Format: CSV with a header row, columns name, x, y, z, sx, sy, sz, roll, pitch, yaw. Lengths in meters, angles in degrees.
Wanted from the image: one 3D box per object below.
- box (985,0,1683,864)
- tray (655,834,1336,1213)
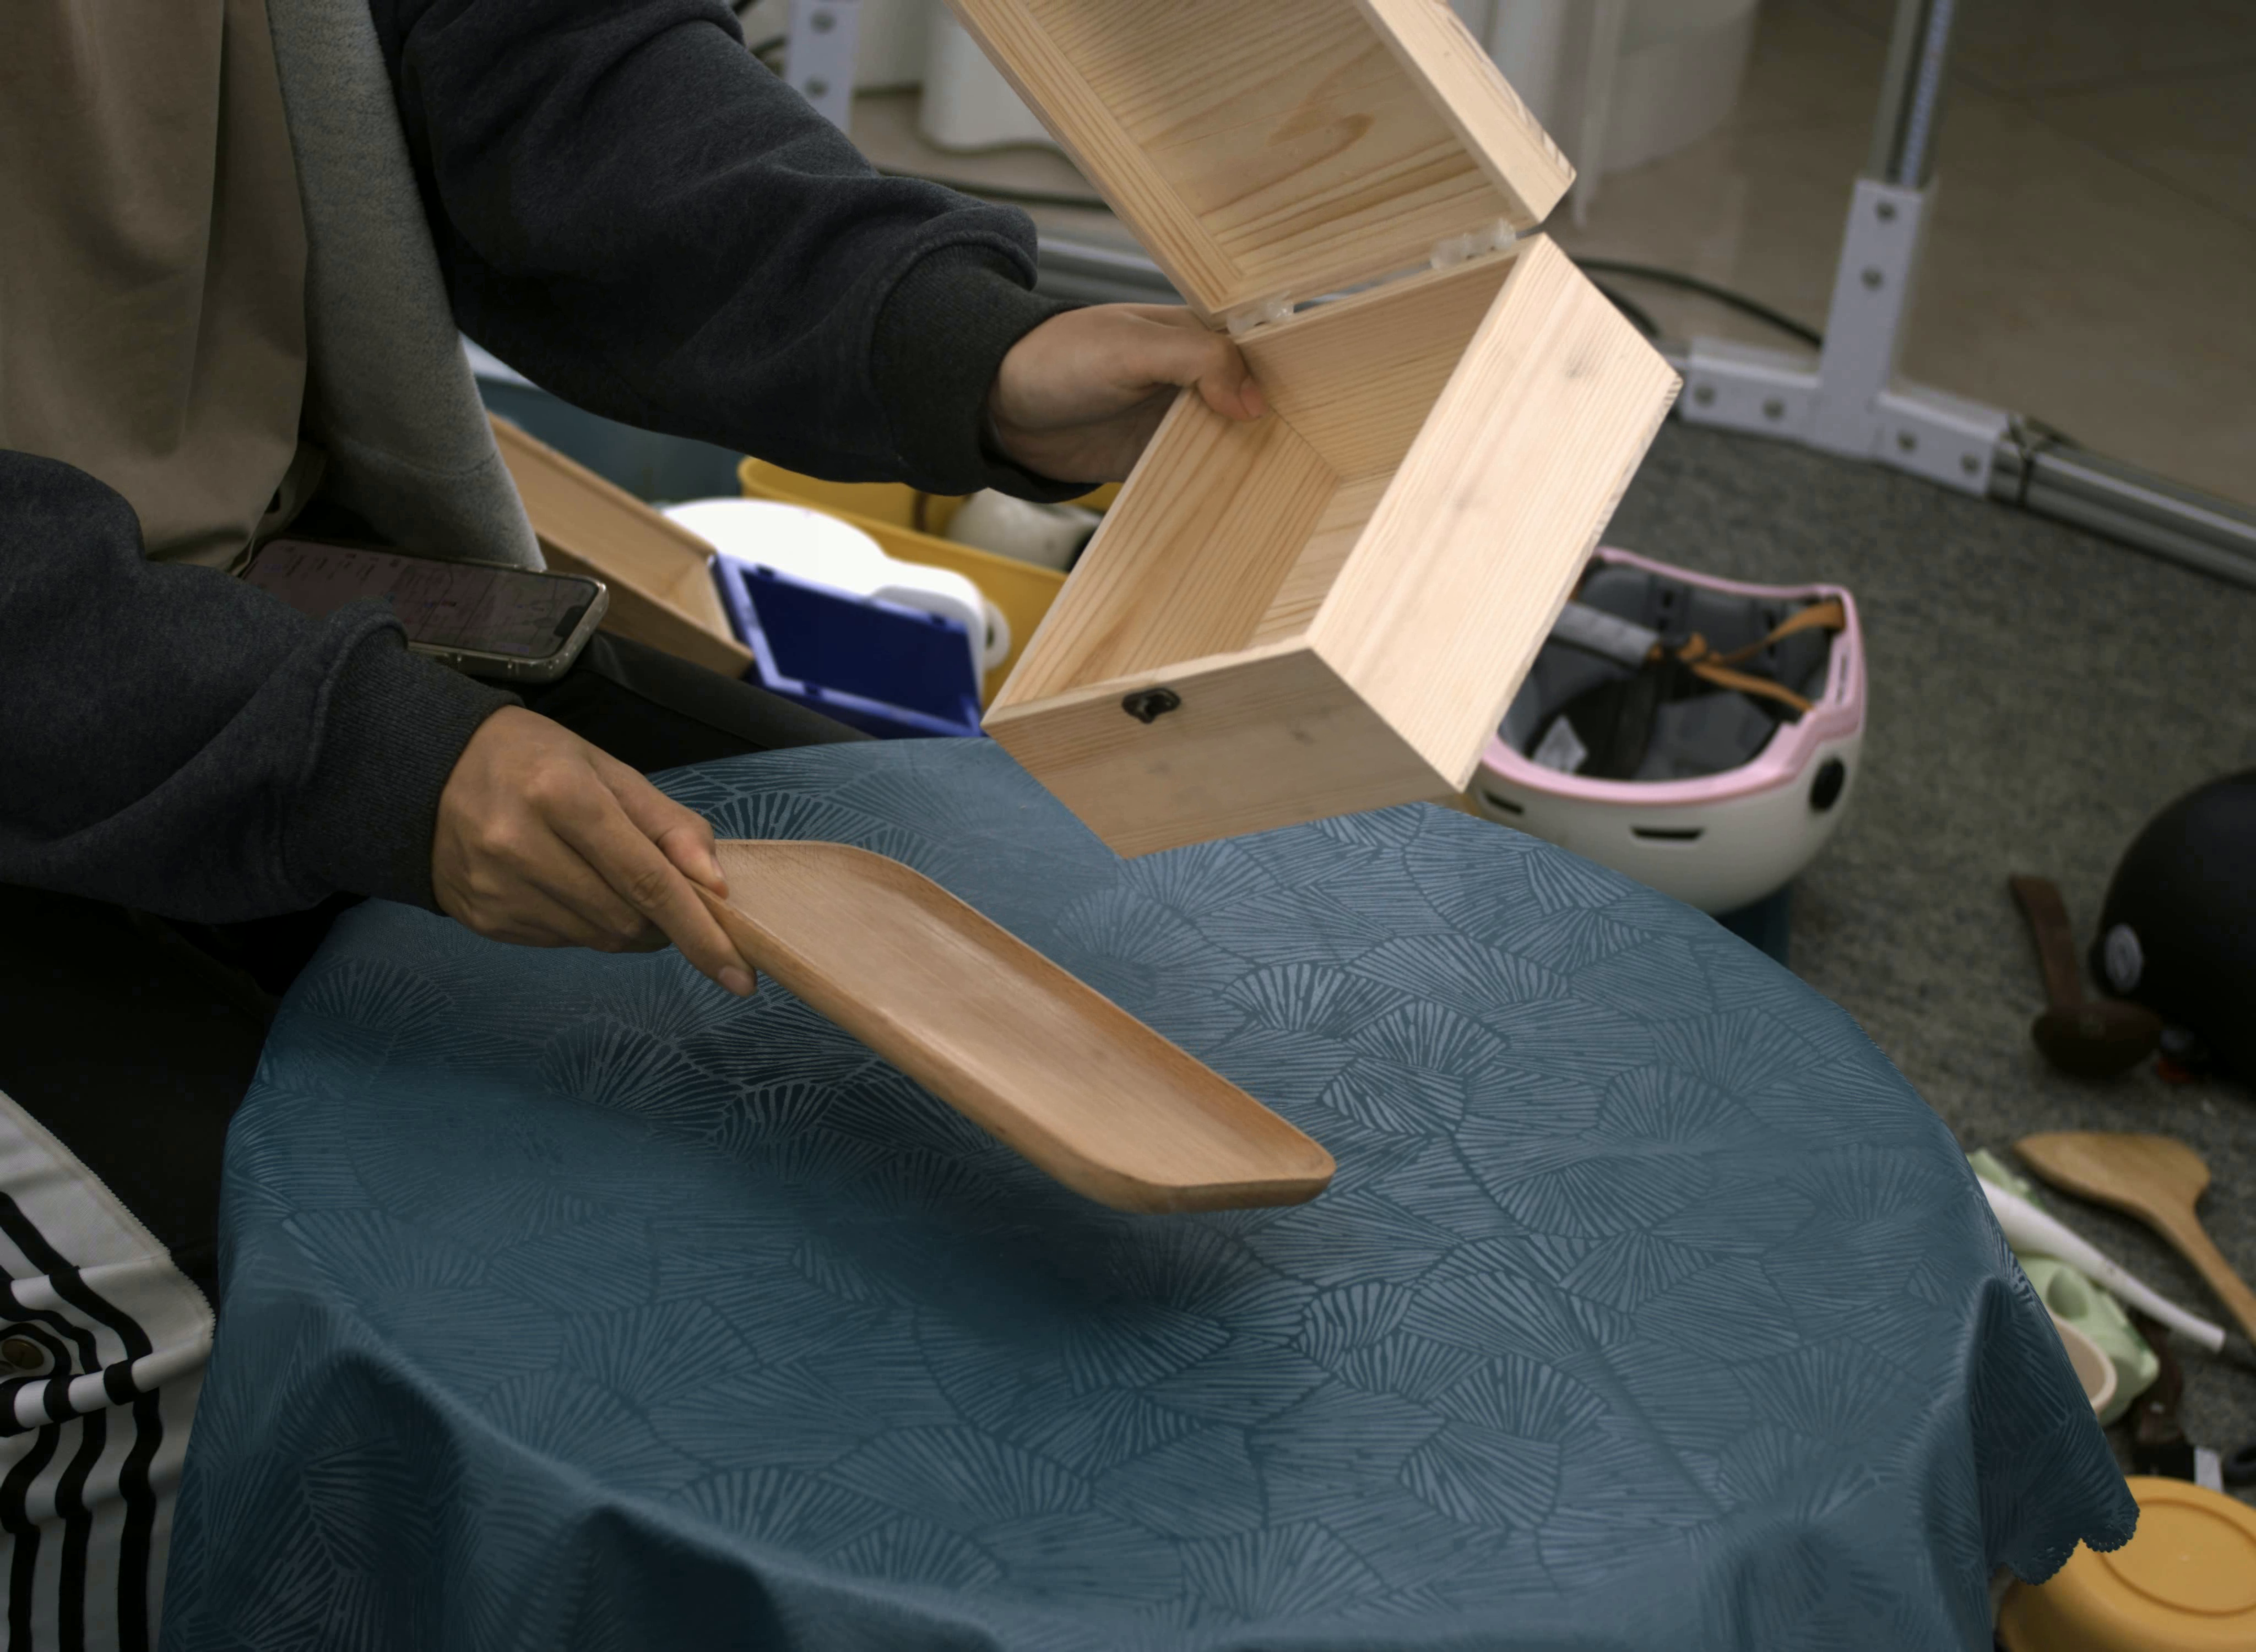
name,x,y,z,sx,sy,sz,roll,pitch,yaw
box,0.025,-0.172,1.770,0.182,0.251,0.266,-17,36,54
tray,-0.048,0.065,1.790,0.253,0.023,0.129,33,17,37
